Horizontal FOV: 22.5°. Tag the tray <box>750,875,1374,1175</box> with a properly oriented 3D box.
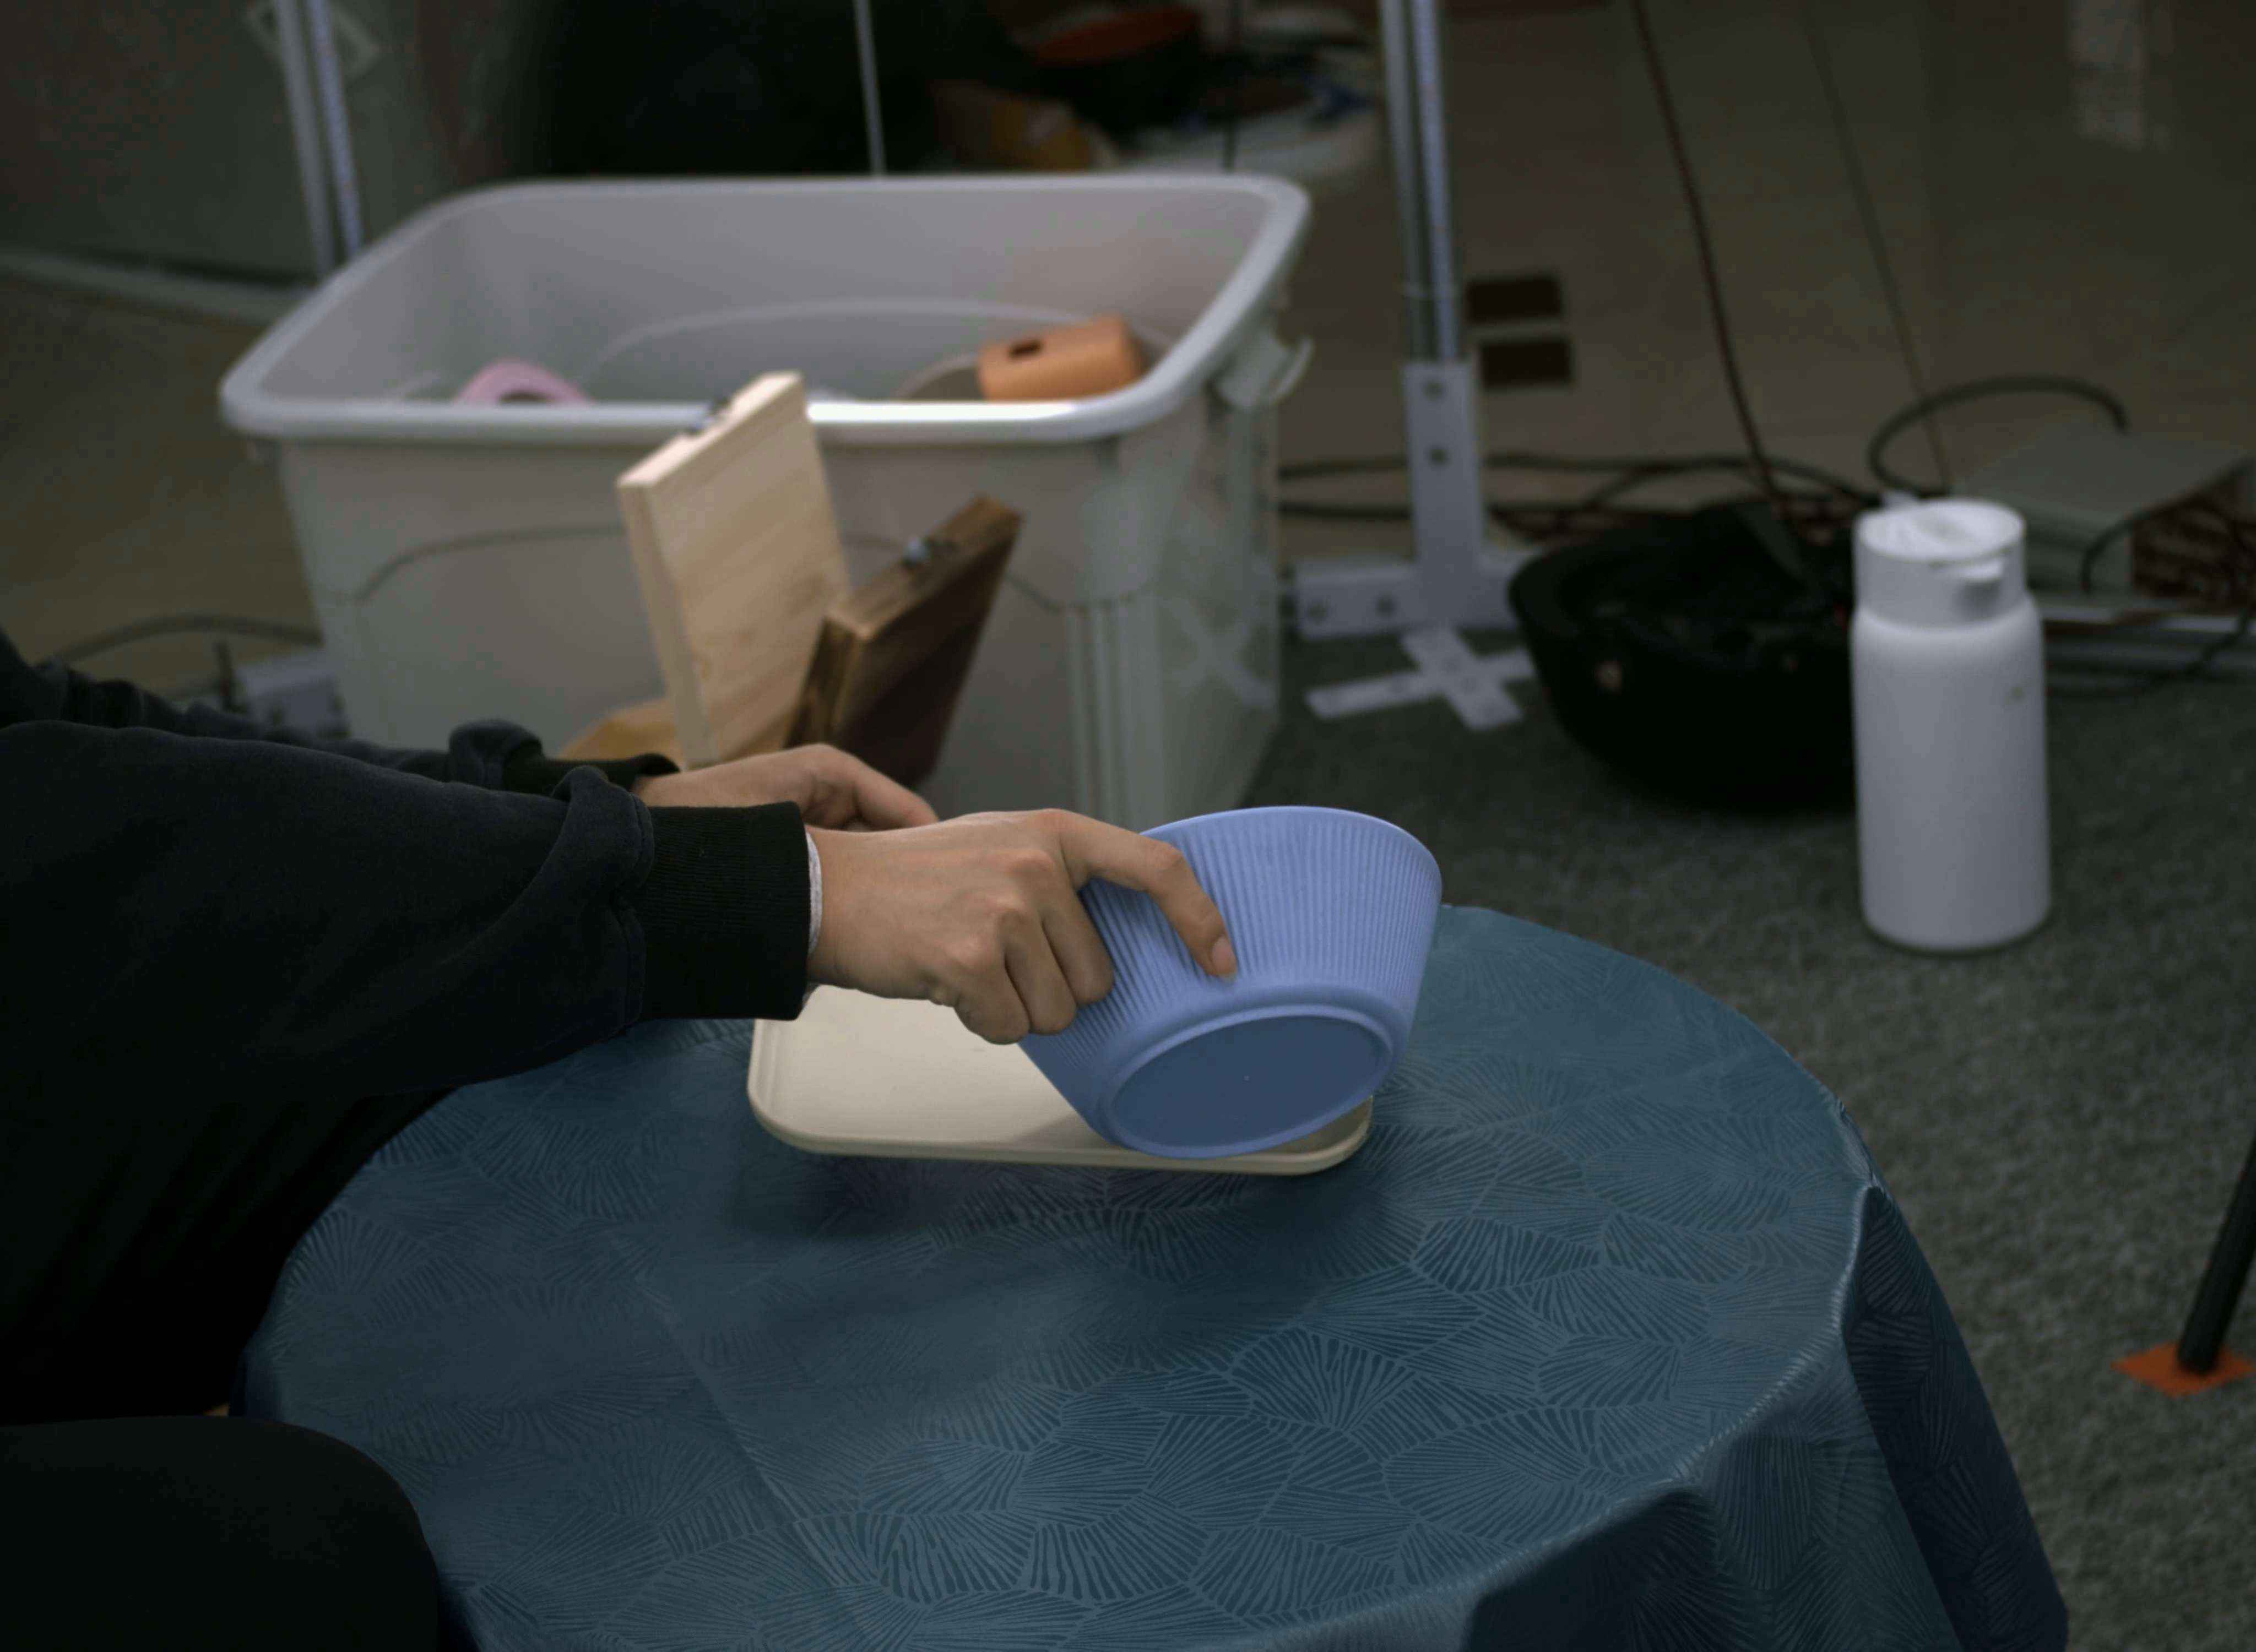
[{"bbox_3d":[-0.025,0.078,2.204,0.239,0.018,0.168,3,36,-1],"label":"tray"}]

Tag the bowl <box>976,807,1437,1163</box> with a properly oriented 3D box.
[{"bbox_3d":[0.035,0.068,2.087,0.175,0.179,0.069,-9,60,-7],"label":"bowl"}]
